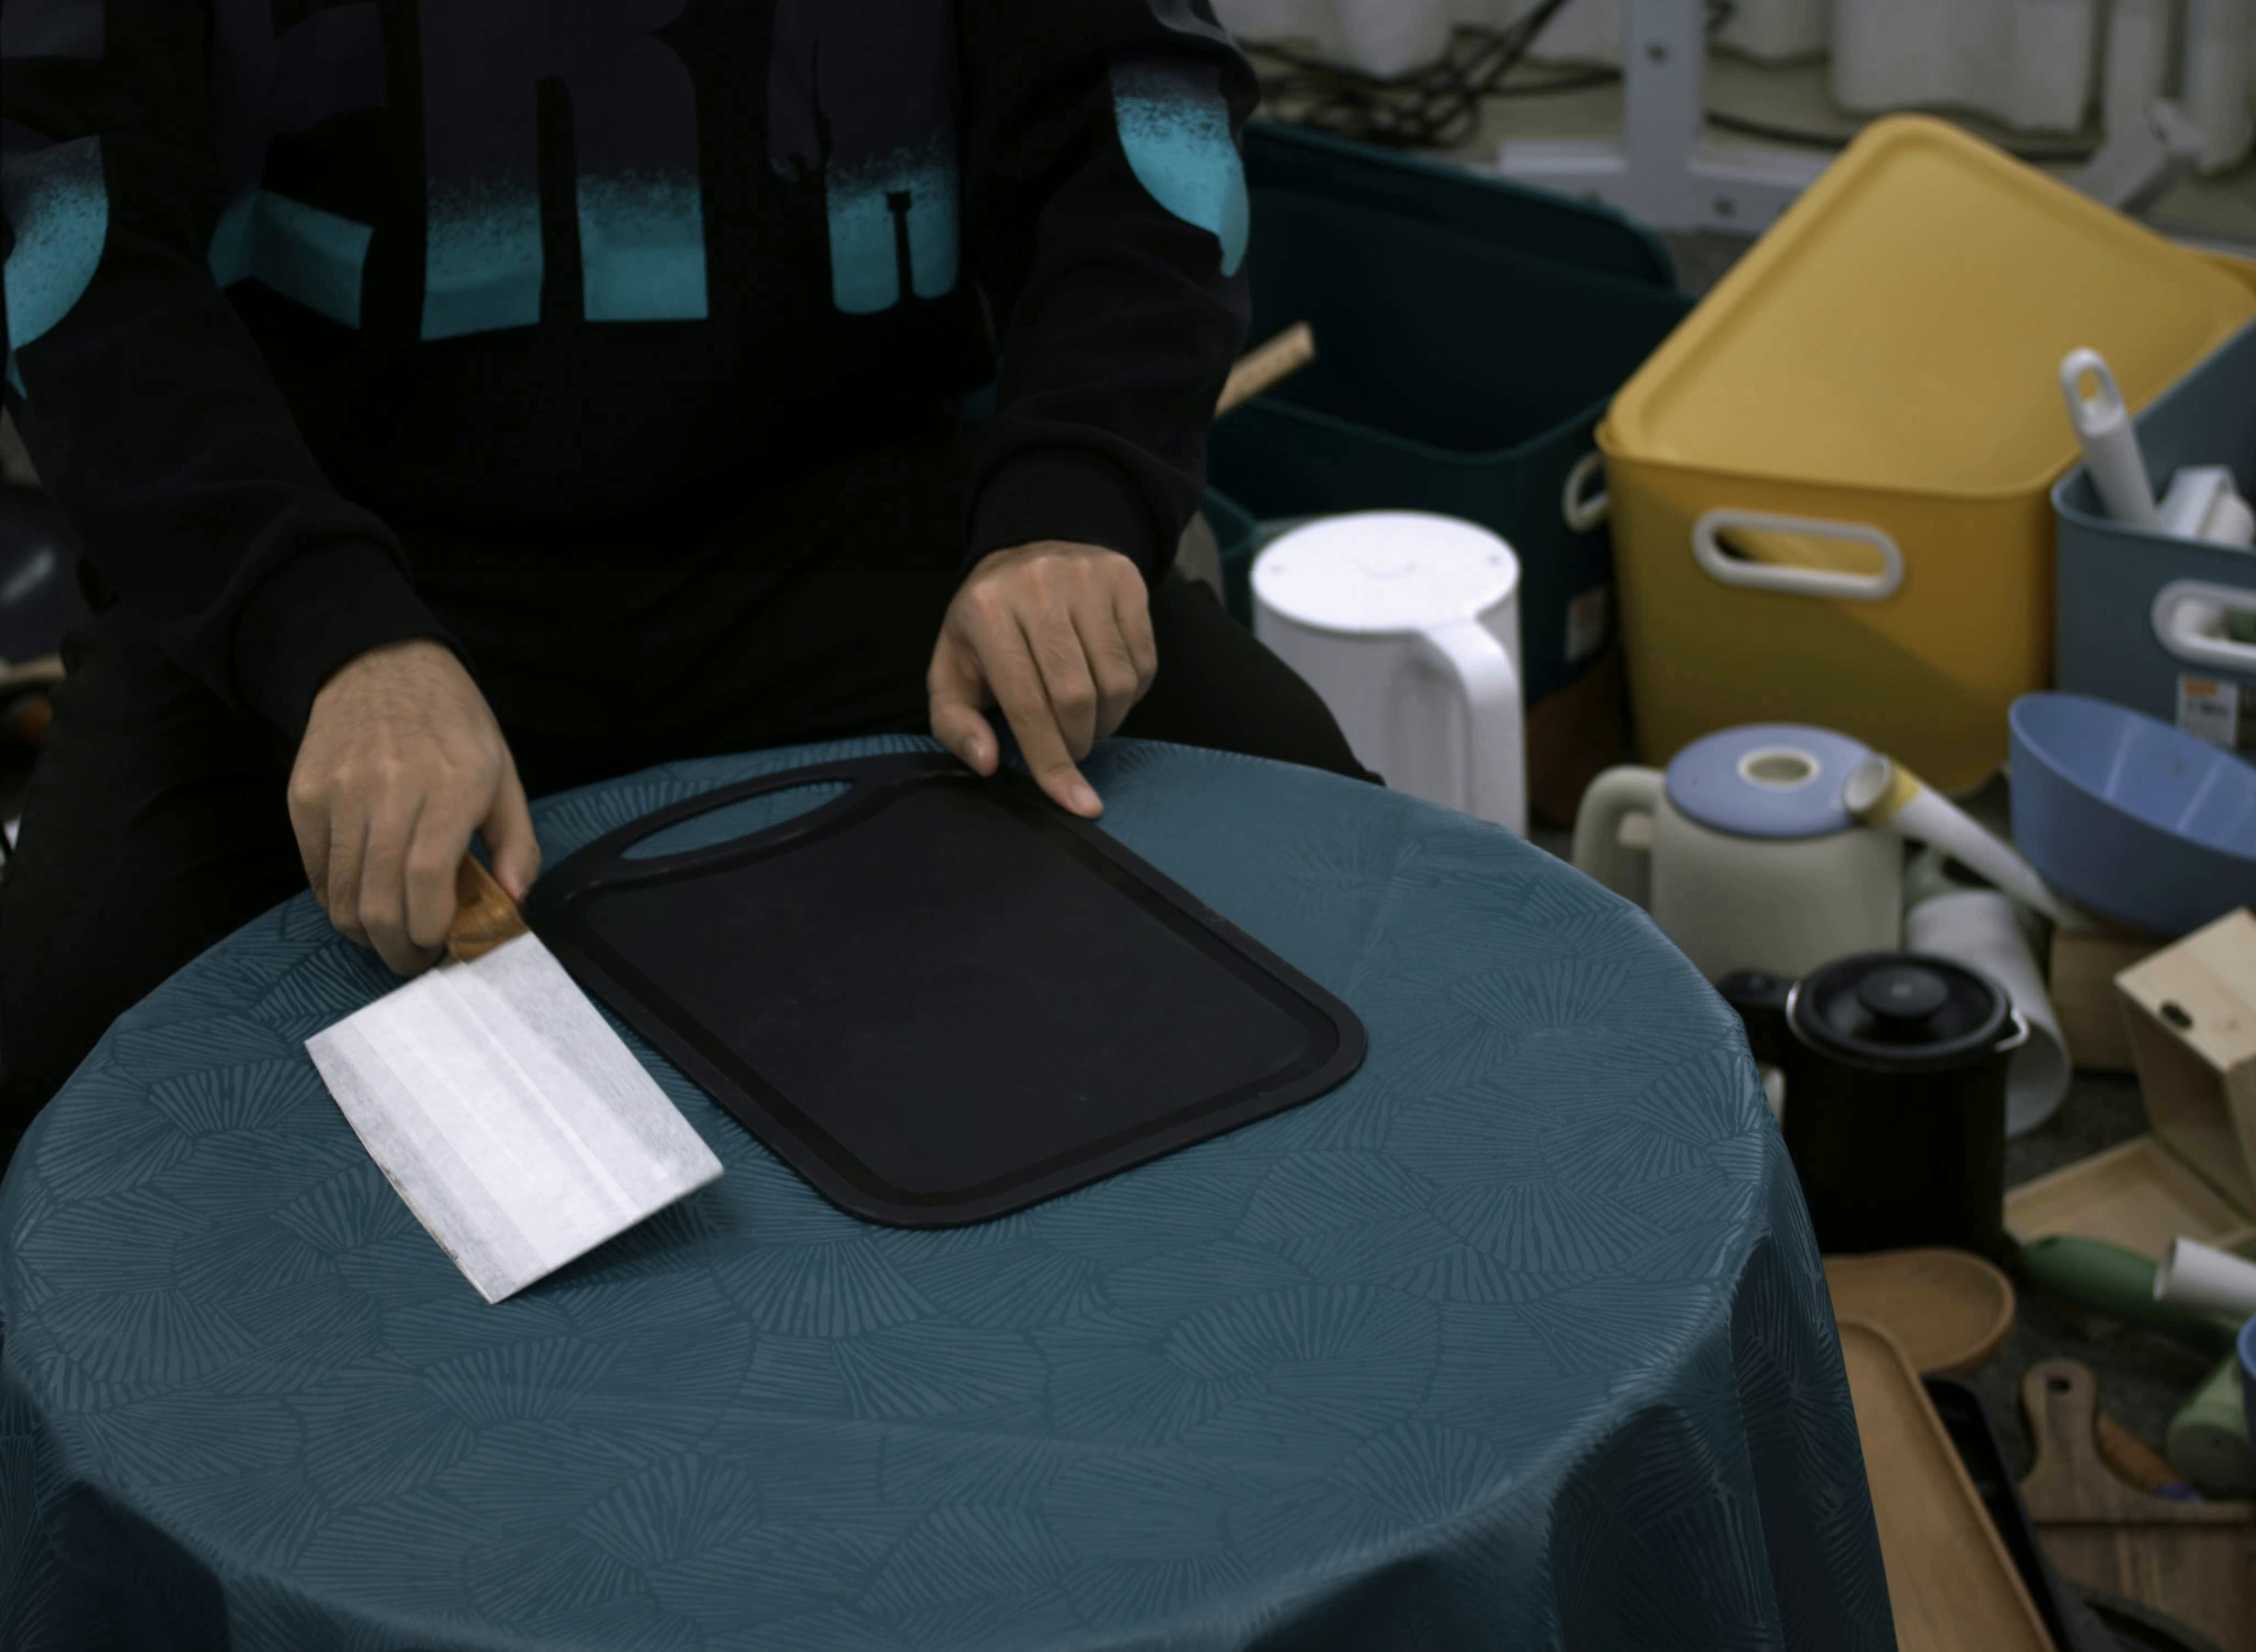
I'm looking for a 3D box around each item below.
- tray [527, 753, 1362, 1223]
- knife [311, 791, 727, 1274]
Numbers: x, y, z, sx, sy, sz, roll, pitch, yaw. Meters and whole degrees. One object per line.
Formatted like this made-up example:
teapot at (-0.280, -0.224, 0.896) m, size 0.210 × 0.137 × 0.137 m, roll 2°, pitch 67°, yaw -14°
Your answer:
tray at (-0.075, 0.048, 2.002) m, size 0.212 × 0.009 × 0.327 m, roll -18°, pitch 31°, yaw -26°
knife at (-0.232, 0.072, 1.950) m, size 0.093 × 0.021 × 0.308 m, roll -27°, pitch 34°, yaw -14°
